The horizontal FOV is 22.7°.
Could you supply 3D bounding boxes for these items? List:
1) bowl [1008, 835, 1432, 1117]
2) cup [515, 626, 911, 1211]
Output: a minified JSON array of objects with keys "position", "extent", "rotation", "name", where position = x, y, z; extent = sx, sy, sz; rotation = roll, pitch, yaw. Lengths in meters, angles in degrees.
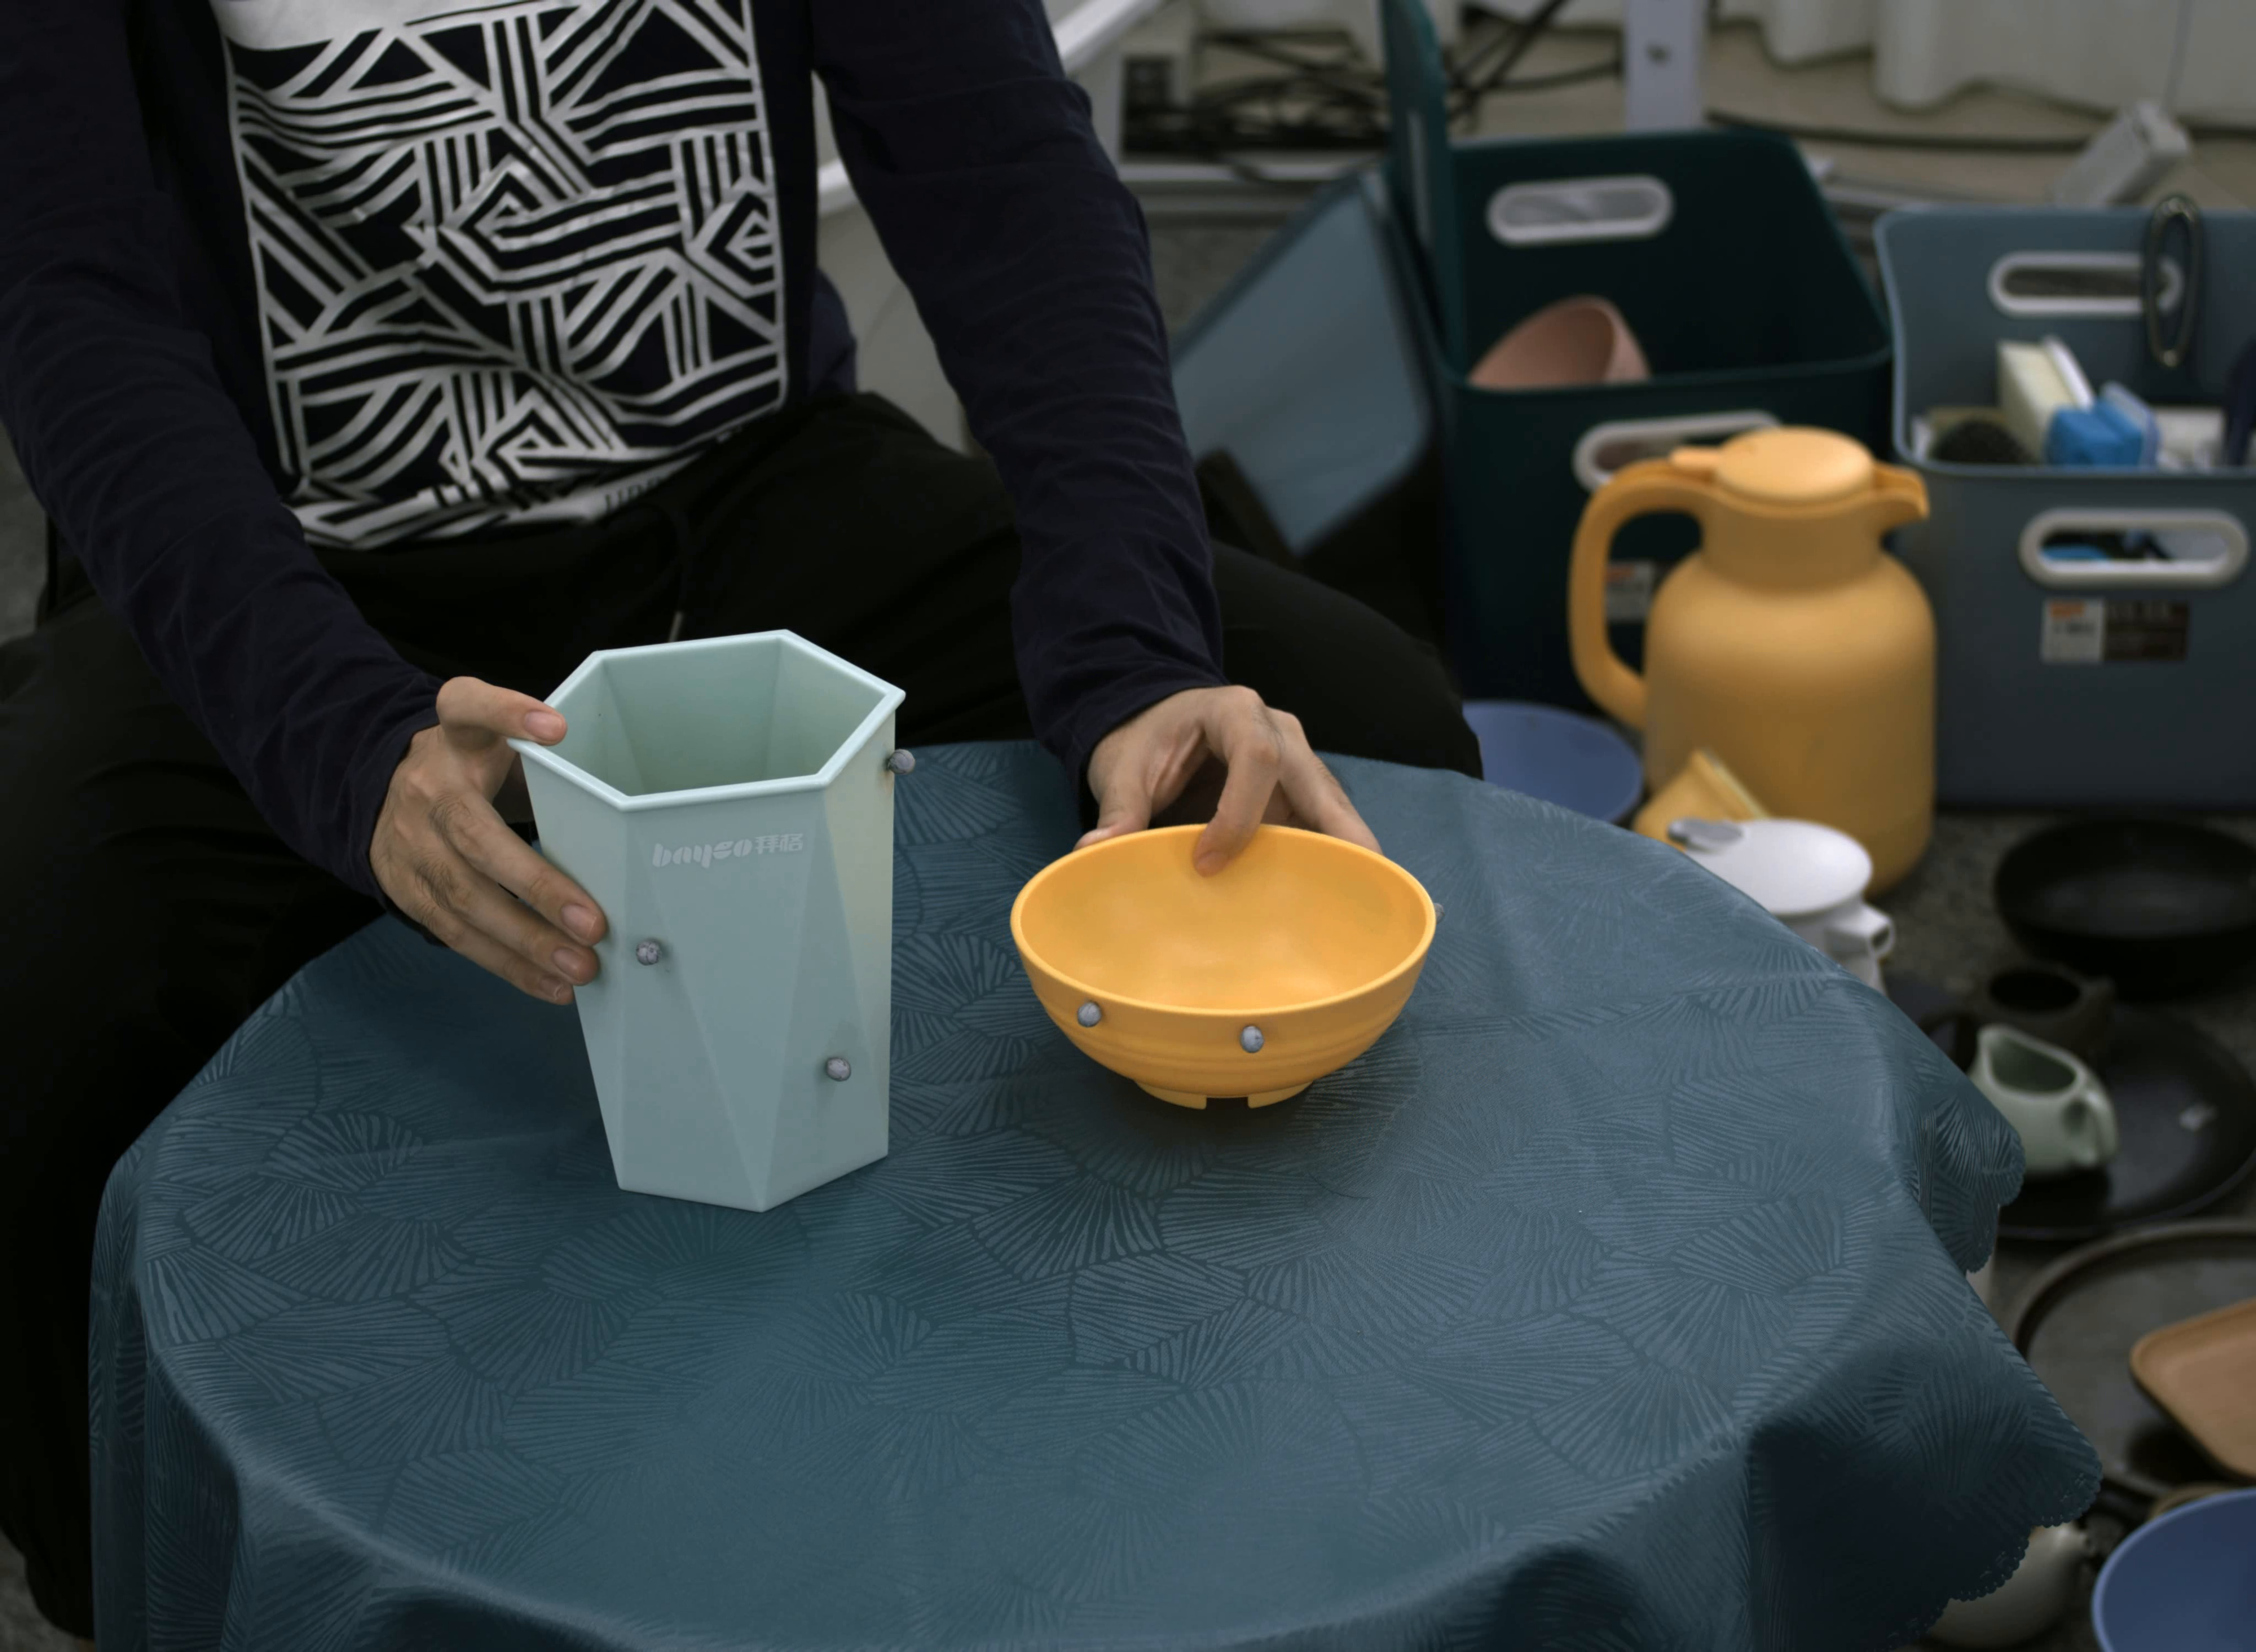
[{"position":[0.031,0.058,1.917],"extent":[0.144,0.059,0.147],"rotation":[1,23,0],"name":"bowl"},{"position":[-0.132,0.033,1.867],"extent":[0.131,0.161,0.116],"rotation":[-7,25,-9],"name":"cup"}]
